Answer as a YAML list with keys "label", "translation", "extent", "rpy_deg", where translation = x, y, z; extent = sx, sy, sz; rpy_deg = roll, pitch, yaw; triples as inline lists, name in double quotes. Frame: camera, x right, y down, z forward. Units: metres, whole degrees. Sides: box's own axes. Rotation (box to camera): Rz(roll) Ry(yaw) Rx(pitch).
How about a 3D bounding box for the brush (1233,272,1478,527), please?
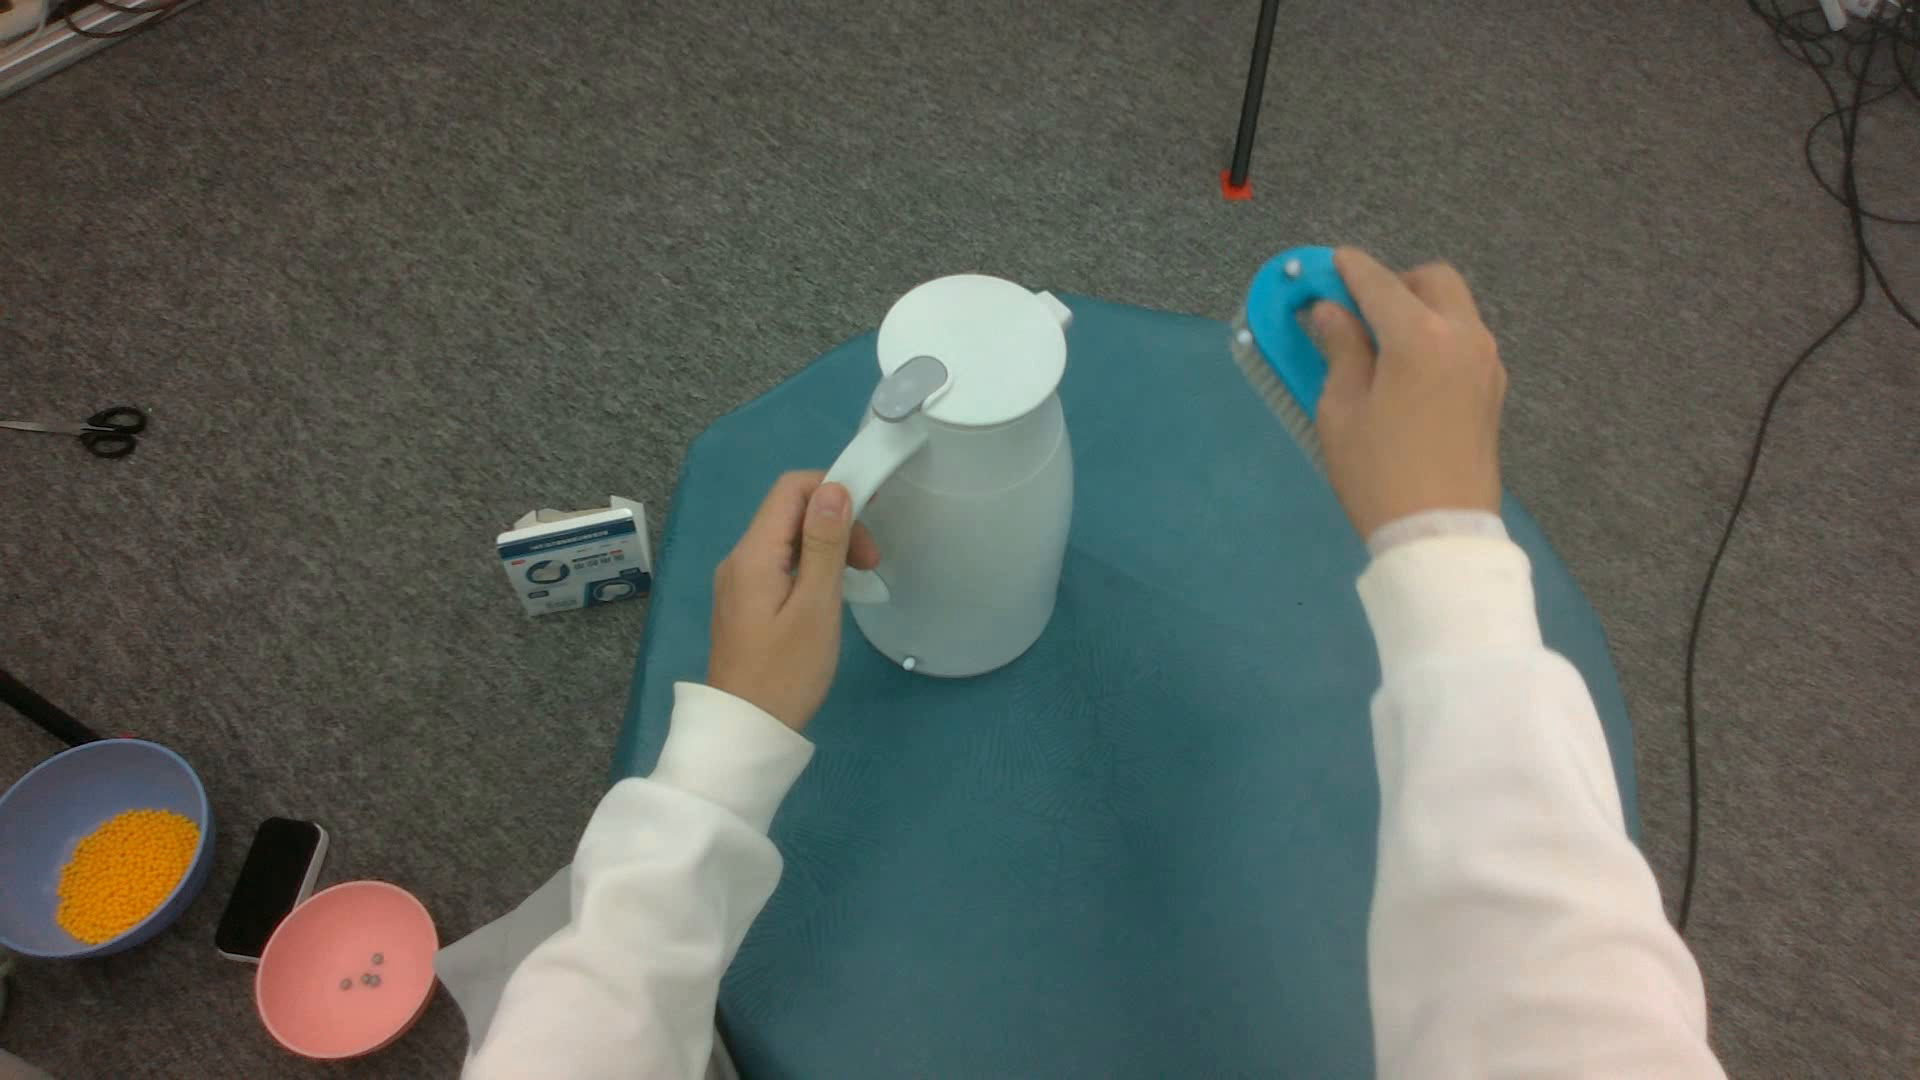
- label: "brush"
  translation: [0.201, -0.079, 0.685]
  extent: [0.084, 0.063, 0.142]
  rpy_deg: [-29, 73, -14]

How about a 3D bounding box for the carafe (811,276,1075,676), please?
- label: "carafe"
  translation: [-0.011, -0.023, 0.763]
  extent: [0.132, 0.247, 0.168]
  rpy_deg: [41, 67, 20]
